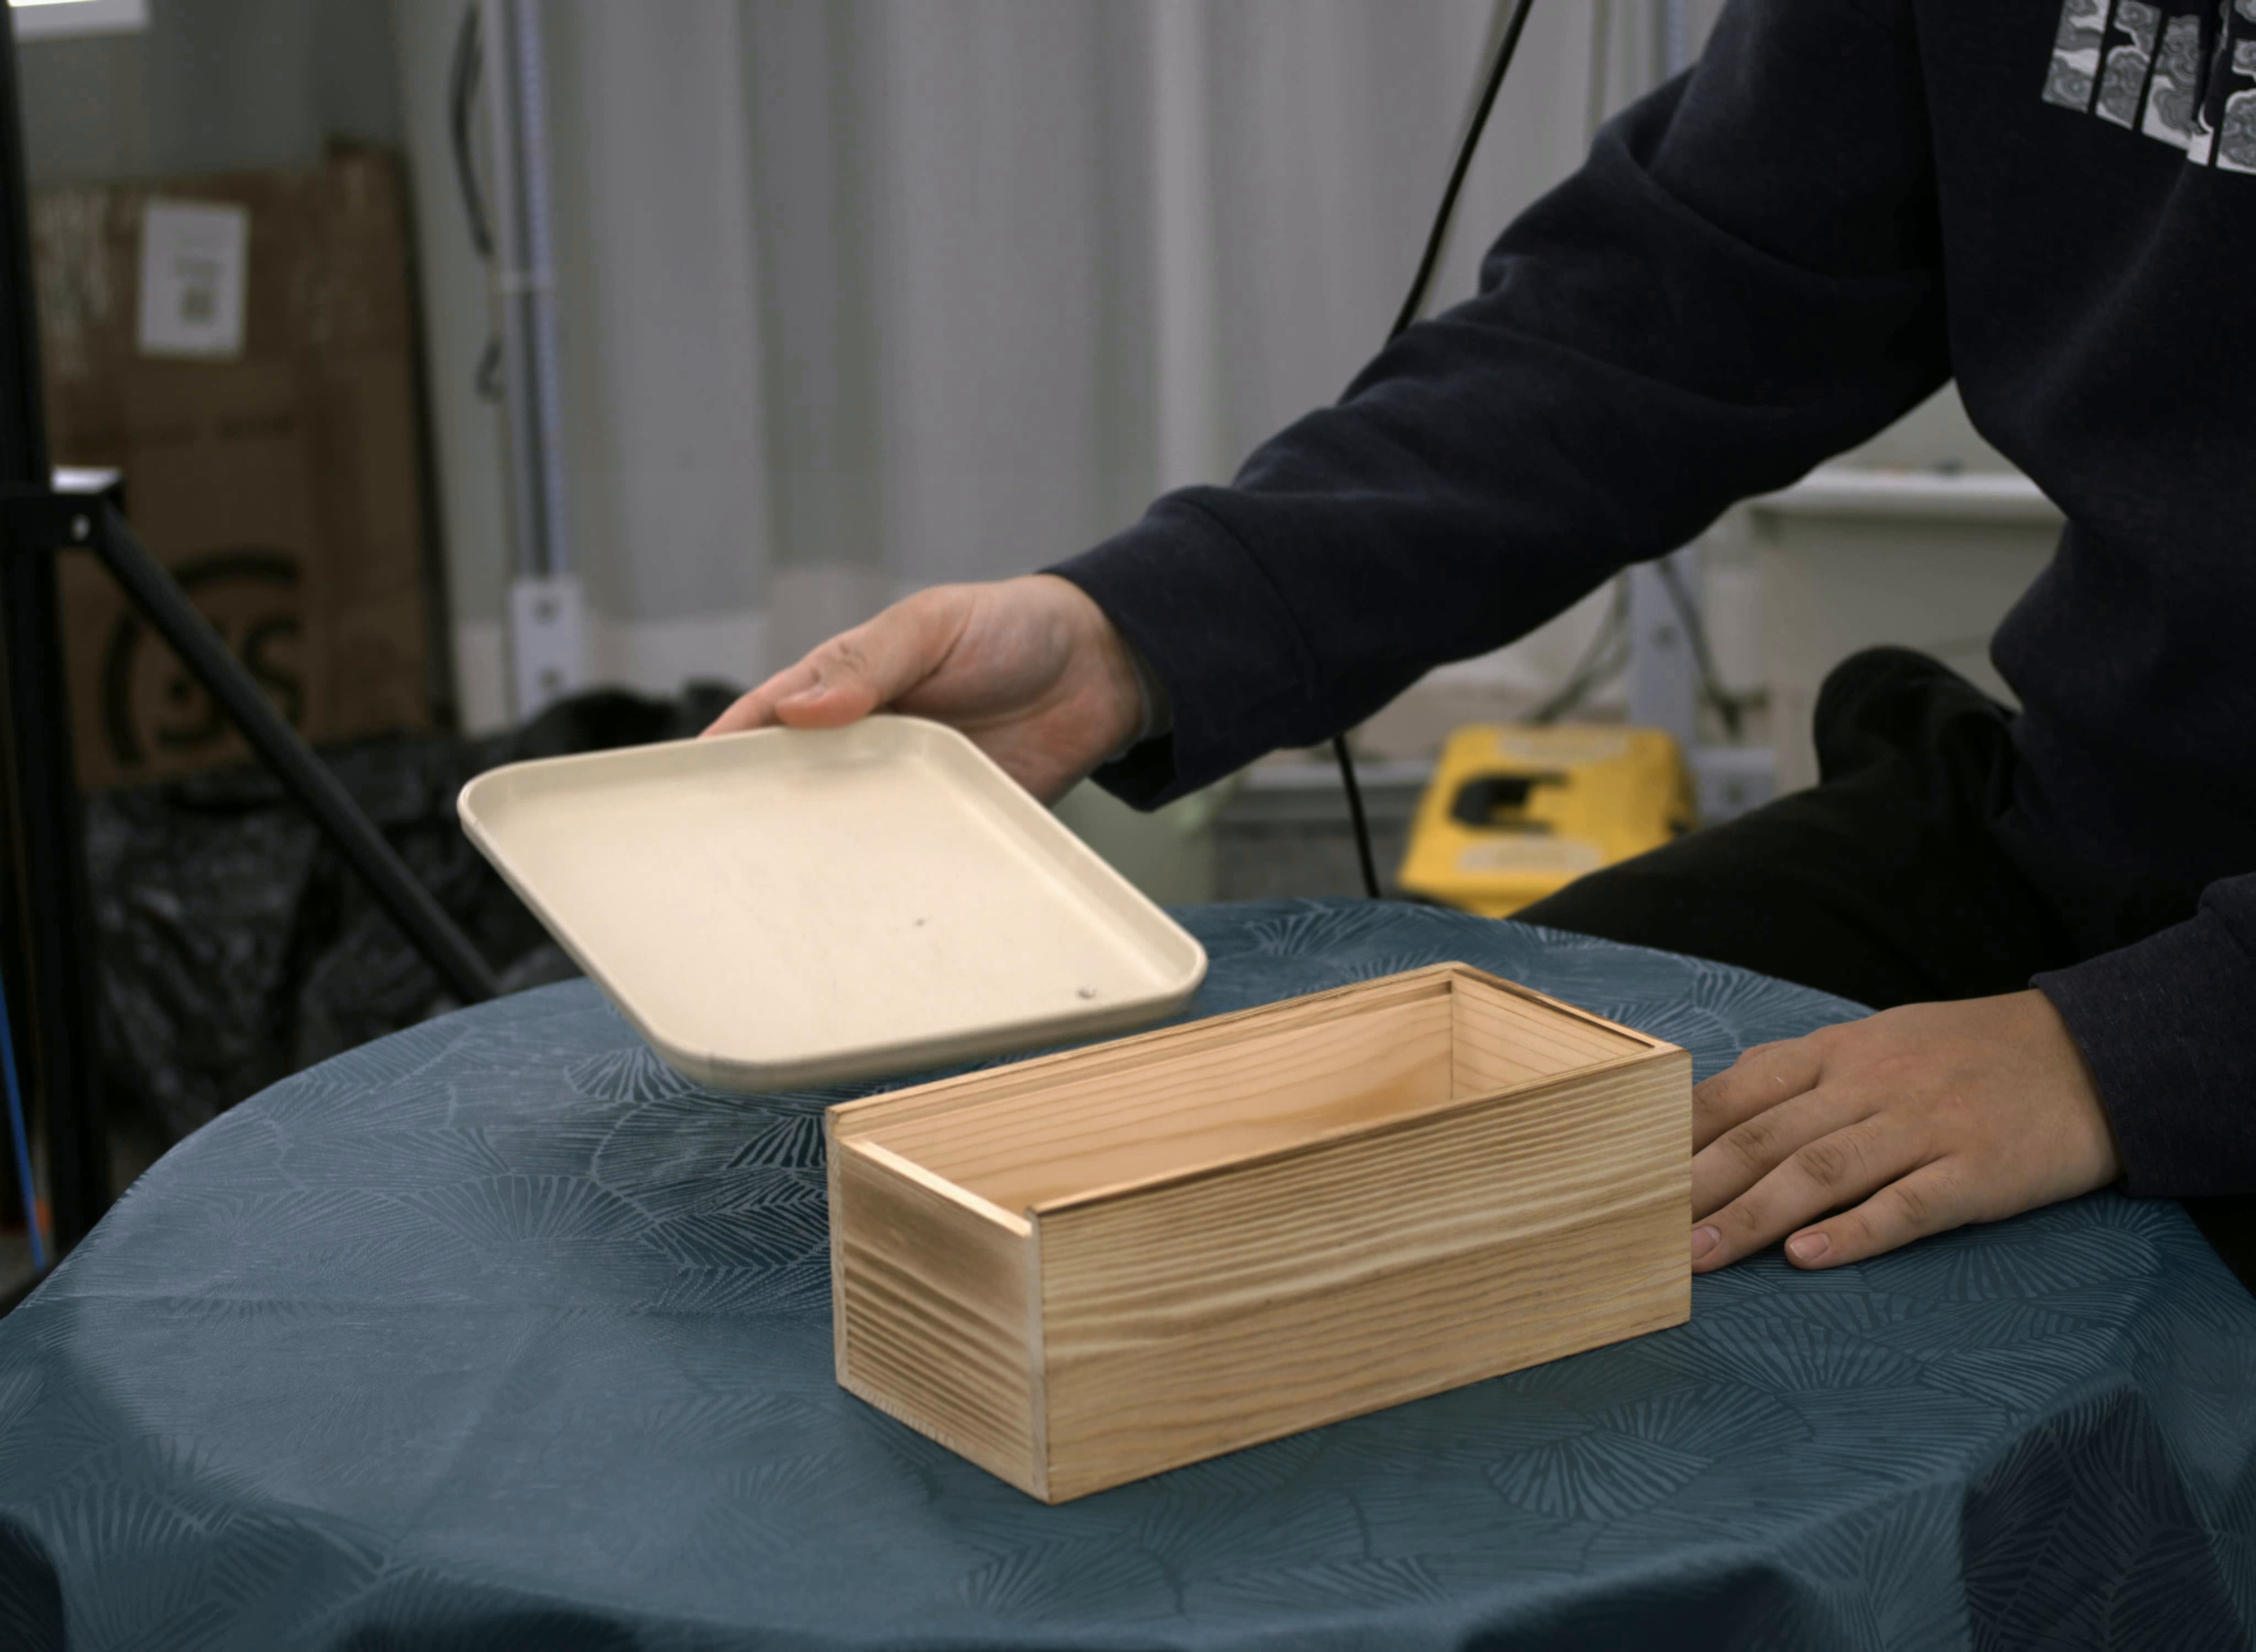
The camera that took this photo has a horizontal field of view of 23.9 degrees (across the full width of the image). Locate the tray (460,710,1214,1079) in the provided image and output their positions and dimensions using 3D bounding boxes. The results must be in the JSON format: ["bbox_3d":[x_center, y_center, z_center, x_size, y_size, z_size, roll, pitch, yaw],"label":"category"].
[{"bbox_3d":[-0.091,0.019,1.602,0.168,0.017,0.244,-8,23,-22],"label":"tray"}]

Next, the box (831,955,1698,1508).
[{"bbox_3d":[0.038,0.104,1.418,0.206,0.080,0.110,-12,19,-31],"label":"box"}]
